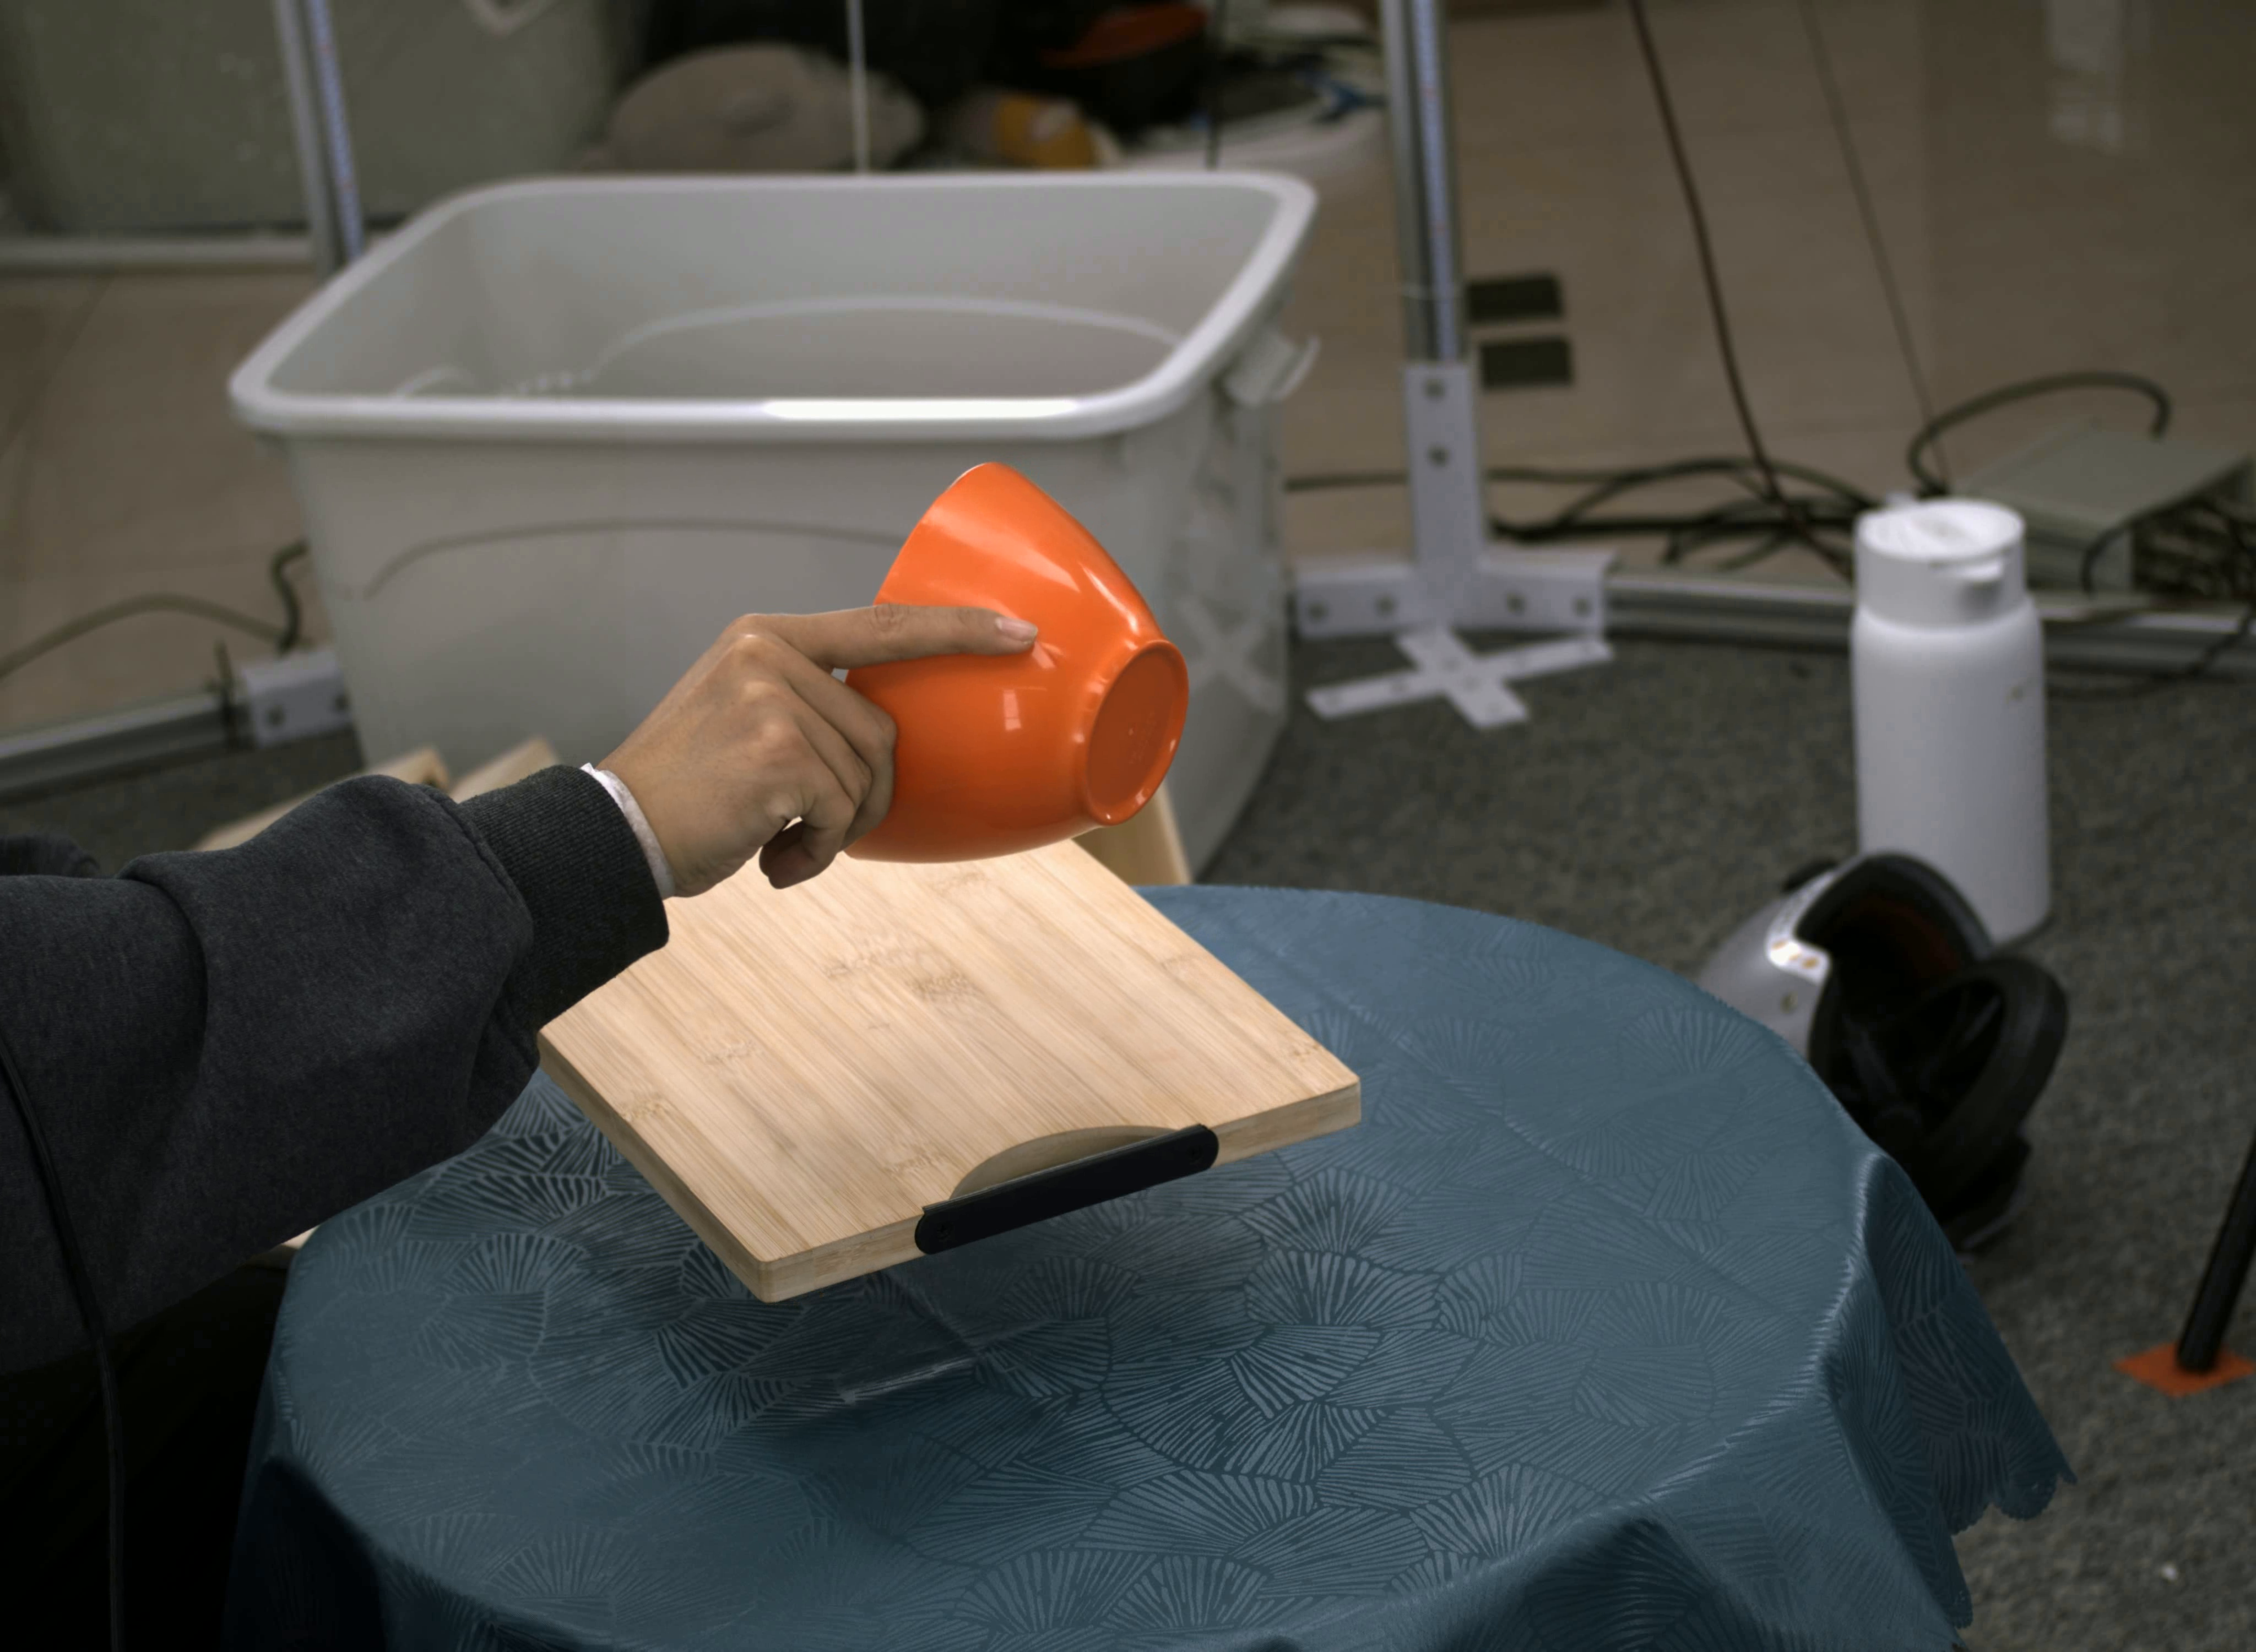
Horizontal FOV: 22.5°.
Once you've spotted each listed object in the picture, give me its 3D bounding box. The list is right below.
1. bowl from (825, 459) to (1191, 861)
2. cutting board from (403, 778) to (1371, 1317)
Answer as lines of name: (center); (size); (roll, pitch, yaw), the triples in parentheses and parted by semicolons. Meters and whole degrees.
bowl: (-0.034, -0.045, 1.954); (0.104, 0.151, 0.146); (23, 36, 27)
cutting board: (-0.097, 0.067, 2.118); (0.249, 0.024, 0.344); (-16, 30, -24)
